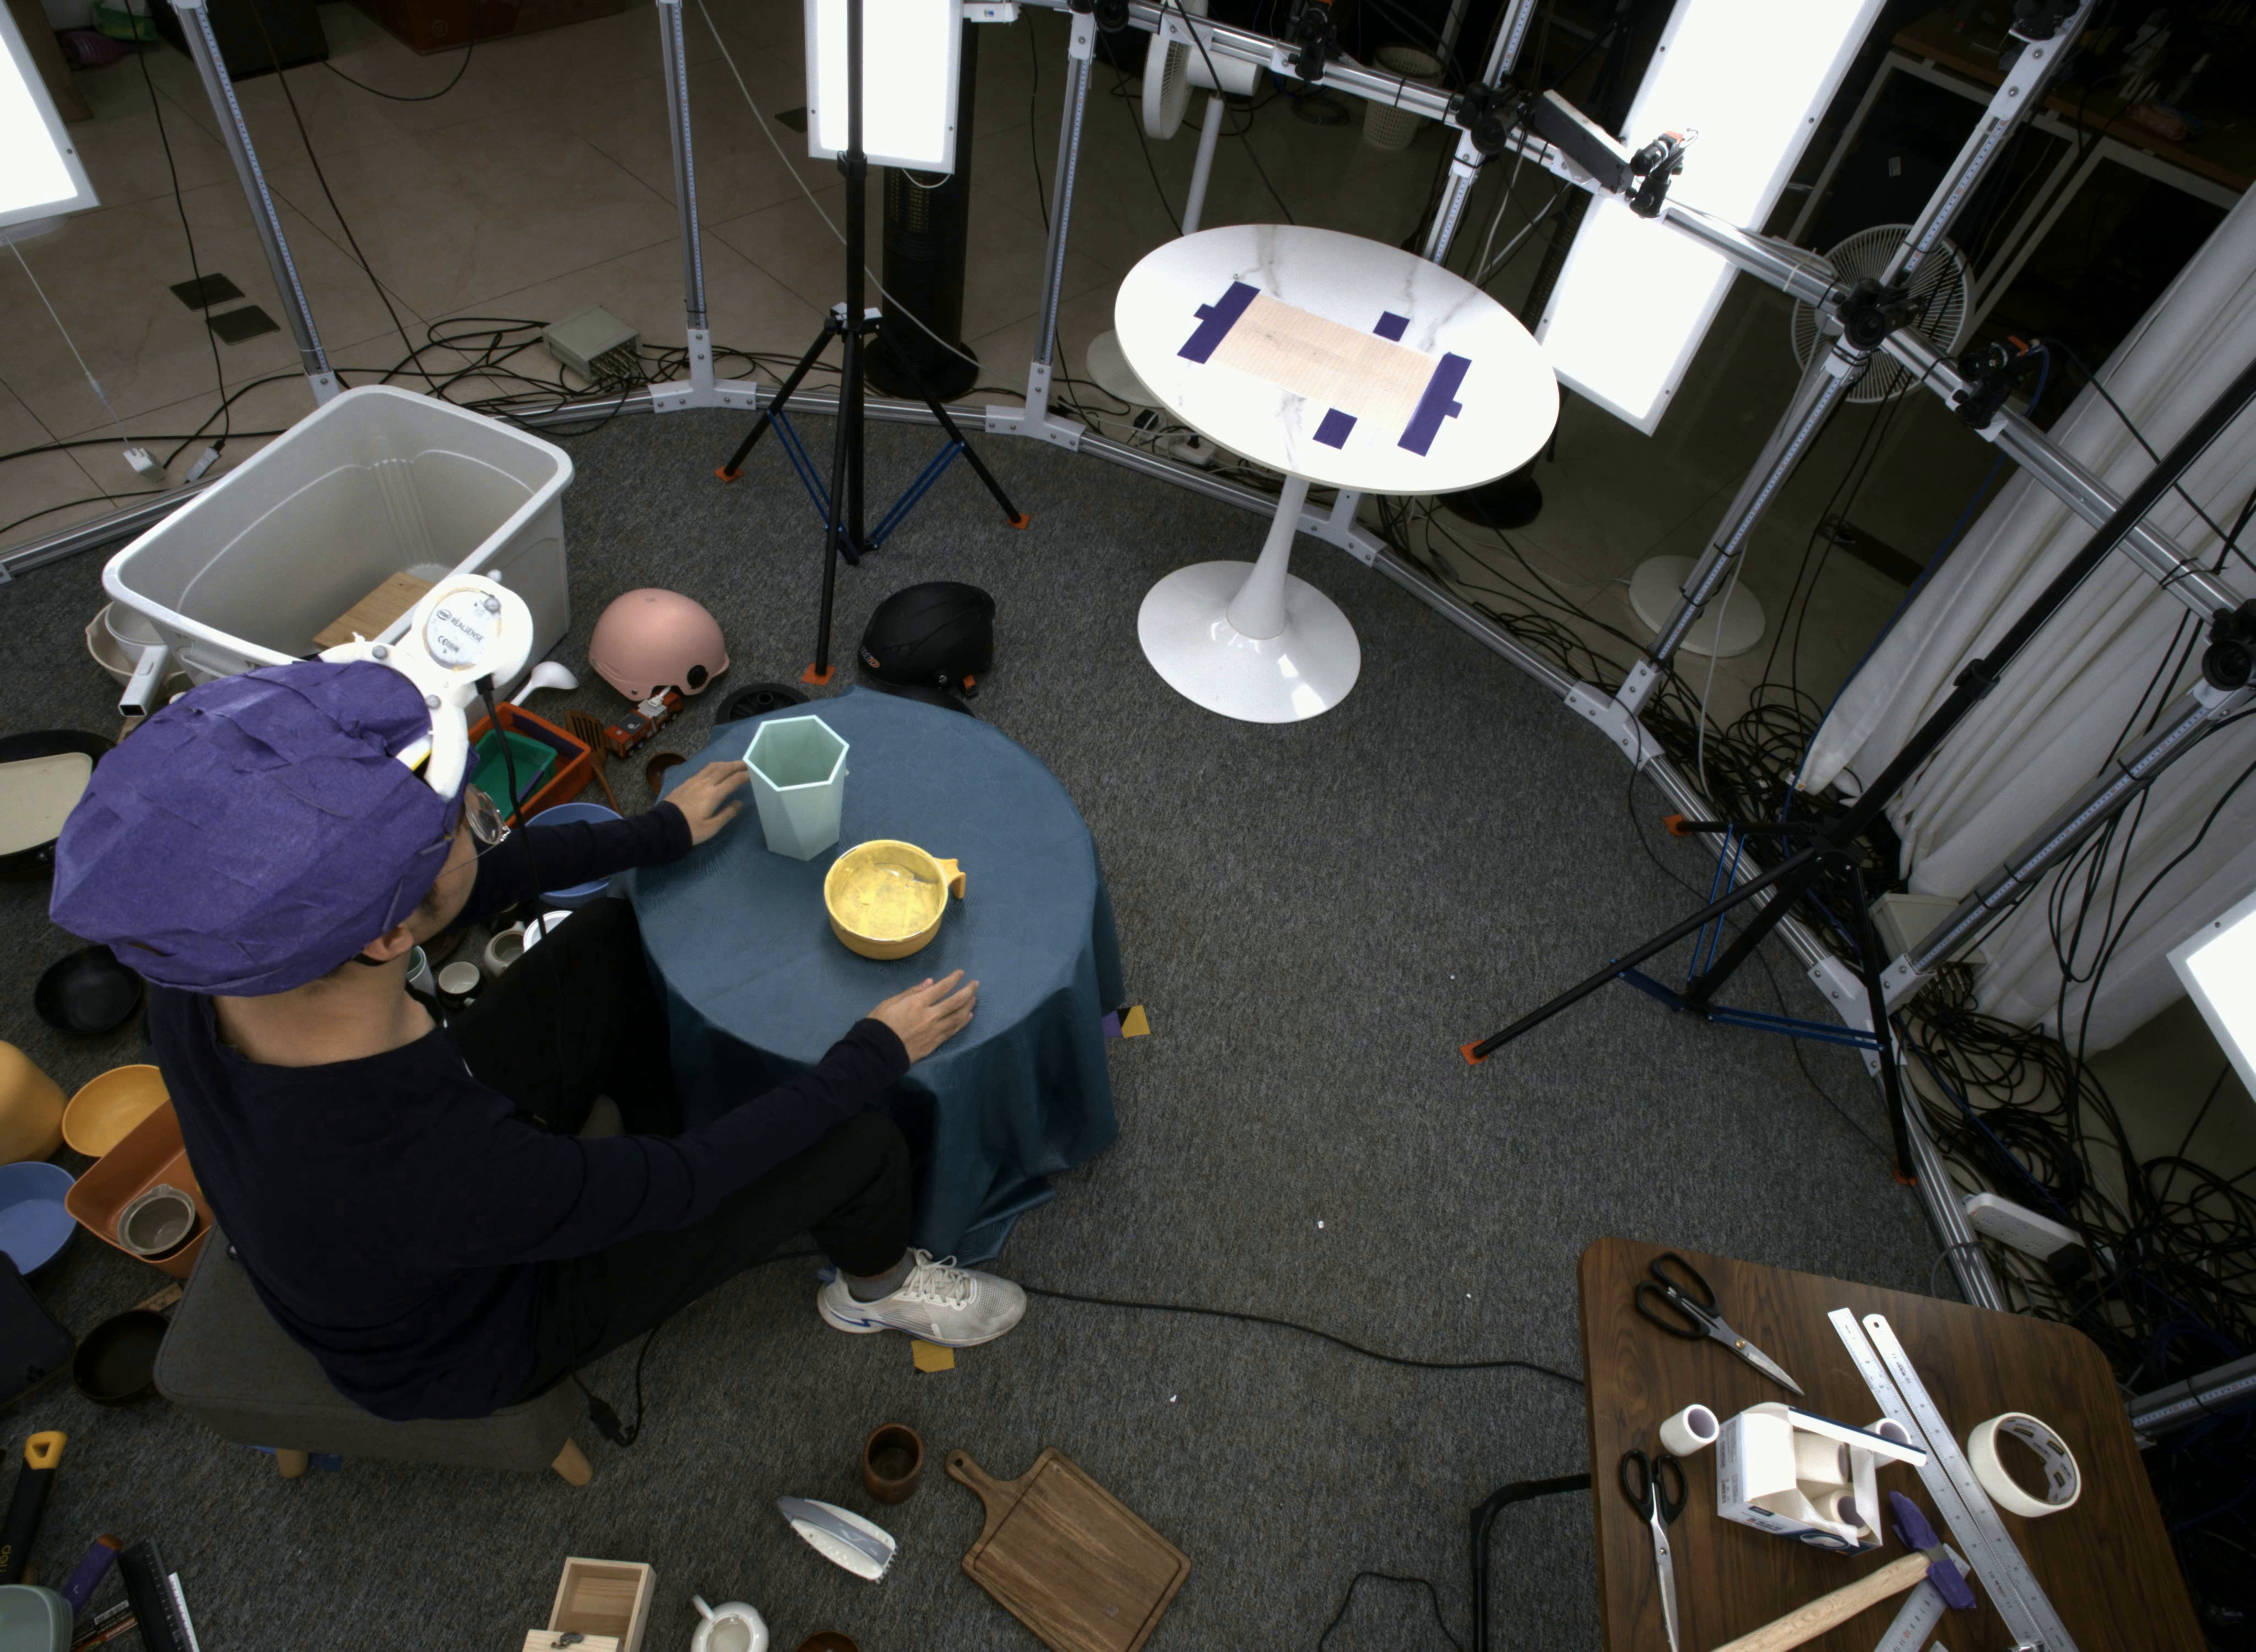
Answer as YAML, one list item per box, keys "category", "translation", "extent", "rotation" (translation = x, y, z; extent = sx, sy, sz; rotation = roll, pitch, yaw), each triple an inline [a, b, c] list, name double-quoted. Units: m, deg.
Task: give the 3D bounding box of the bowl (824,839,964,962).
- category: "bowl"
  translation: [-0.293, 0.094, 1.646]
  extent: [0.180, 0.076, 0.149]
  rotation: [-25, 63, -25]

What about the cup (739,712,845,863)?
- category: "cup"
  translation: [-0.421, -0.044, 1.655]
  extent: [0.128, 0.167, 0.115]
  rotation: [35, 56, 17]
